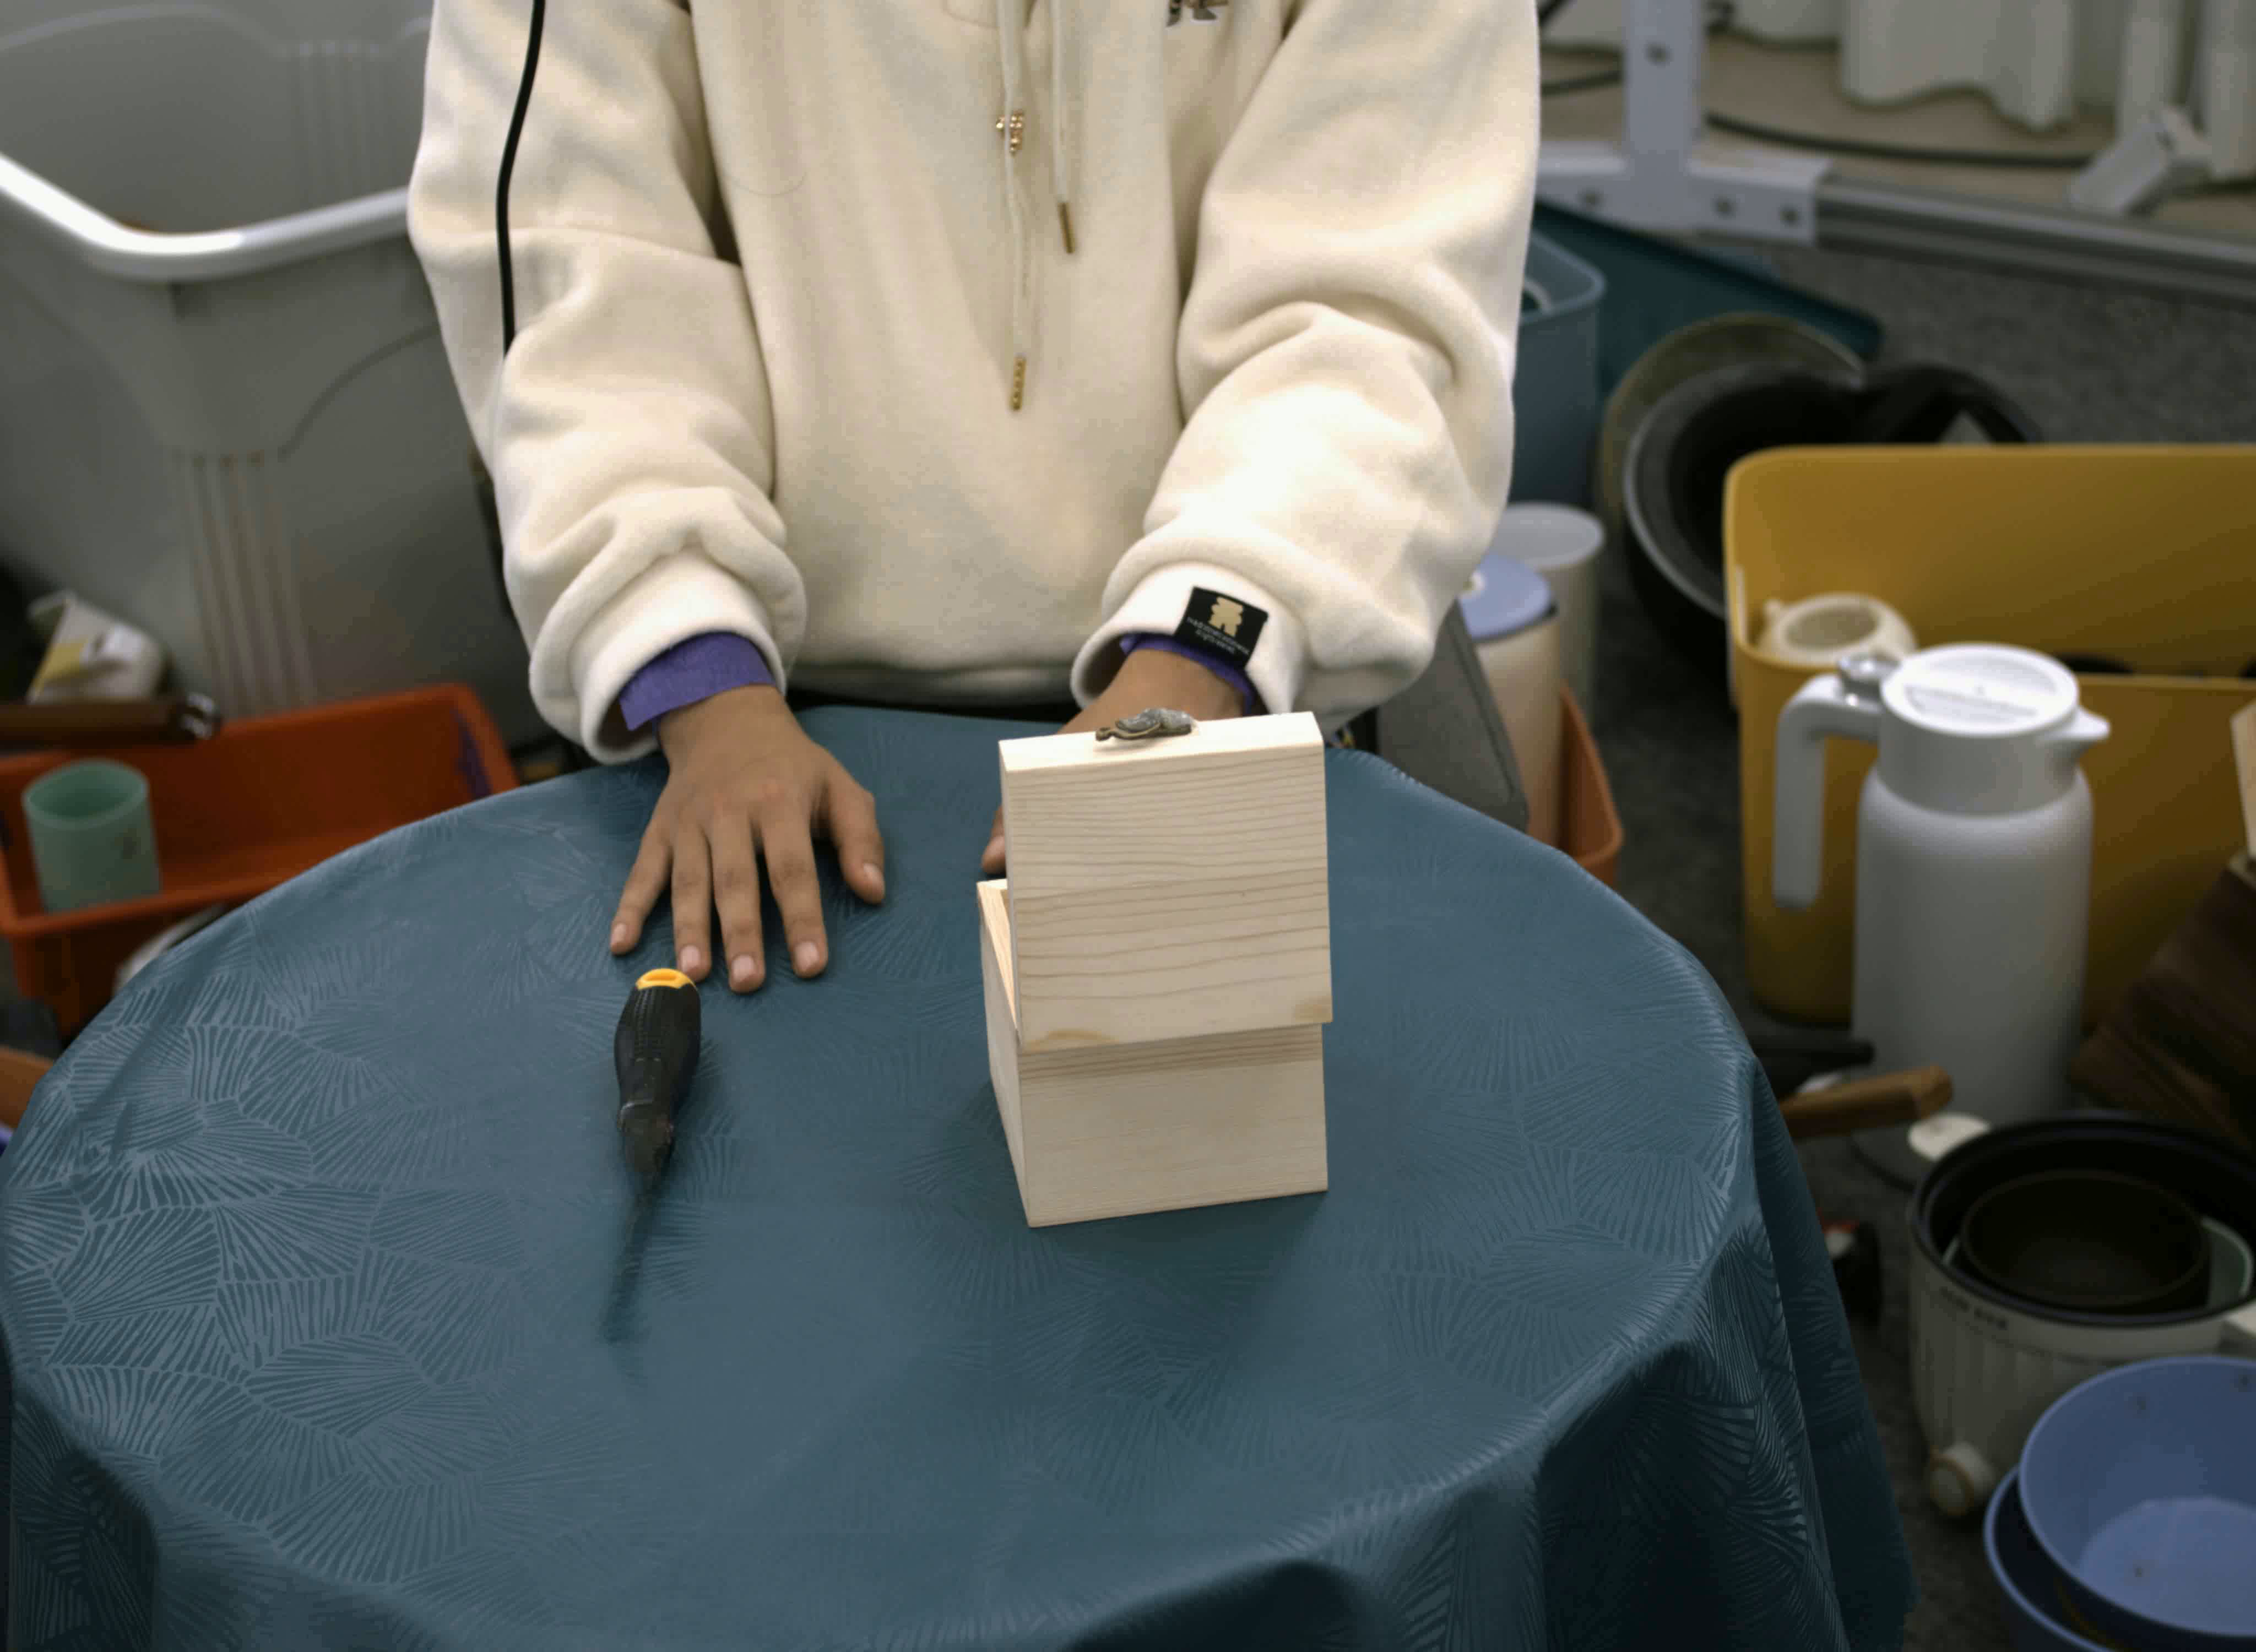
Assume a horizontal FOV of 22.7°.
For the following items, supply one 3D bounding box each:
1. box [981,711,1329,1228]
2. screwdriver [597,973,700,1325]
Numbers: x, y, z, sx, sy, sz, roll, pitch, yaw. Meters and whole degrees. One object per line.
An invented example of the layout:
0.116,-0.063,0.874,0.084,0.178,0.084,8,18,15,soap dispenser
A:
0.006,0.028,1.845,0.102,0.182,0.135,-7,28,-6,box
-0.167,0.109,1.879,0.031,0.031,0.201,0,30,5,screwdriver
